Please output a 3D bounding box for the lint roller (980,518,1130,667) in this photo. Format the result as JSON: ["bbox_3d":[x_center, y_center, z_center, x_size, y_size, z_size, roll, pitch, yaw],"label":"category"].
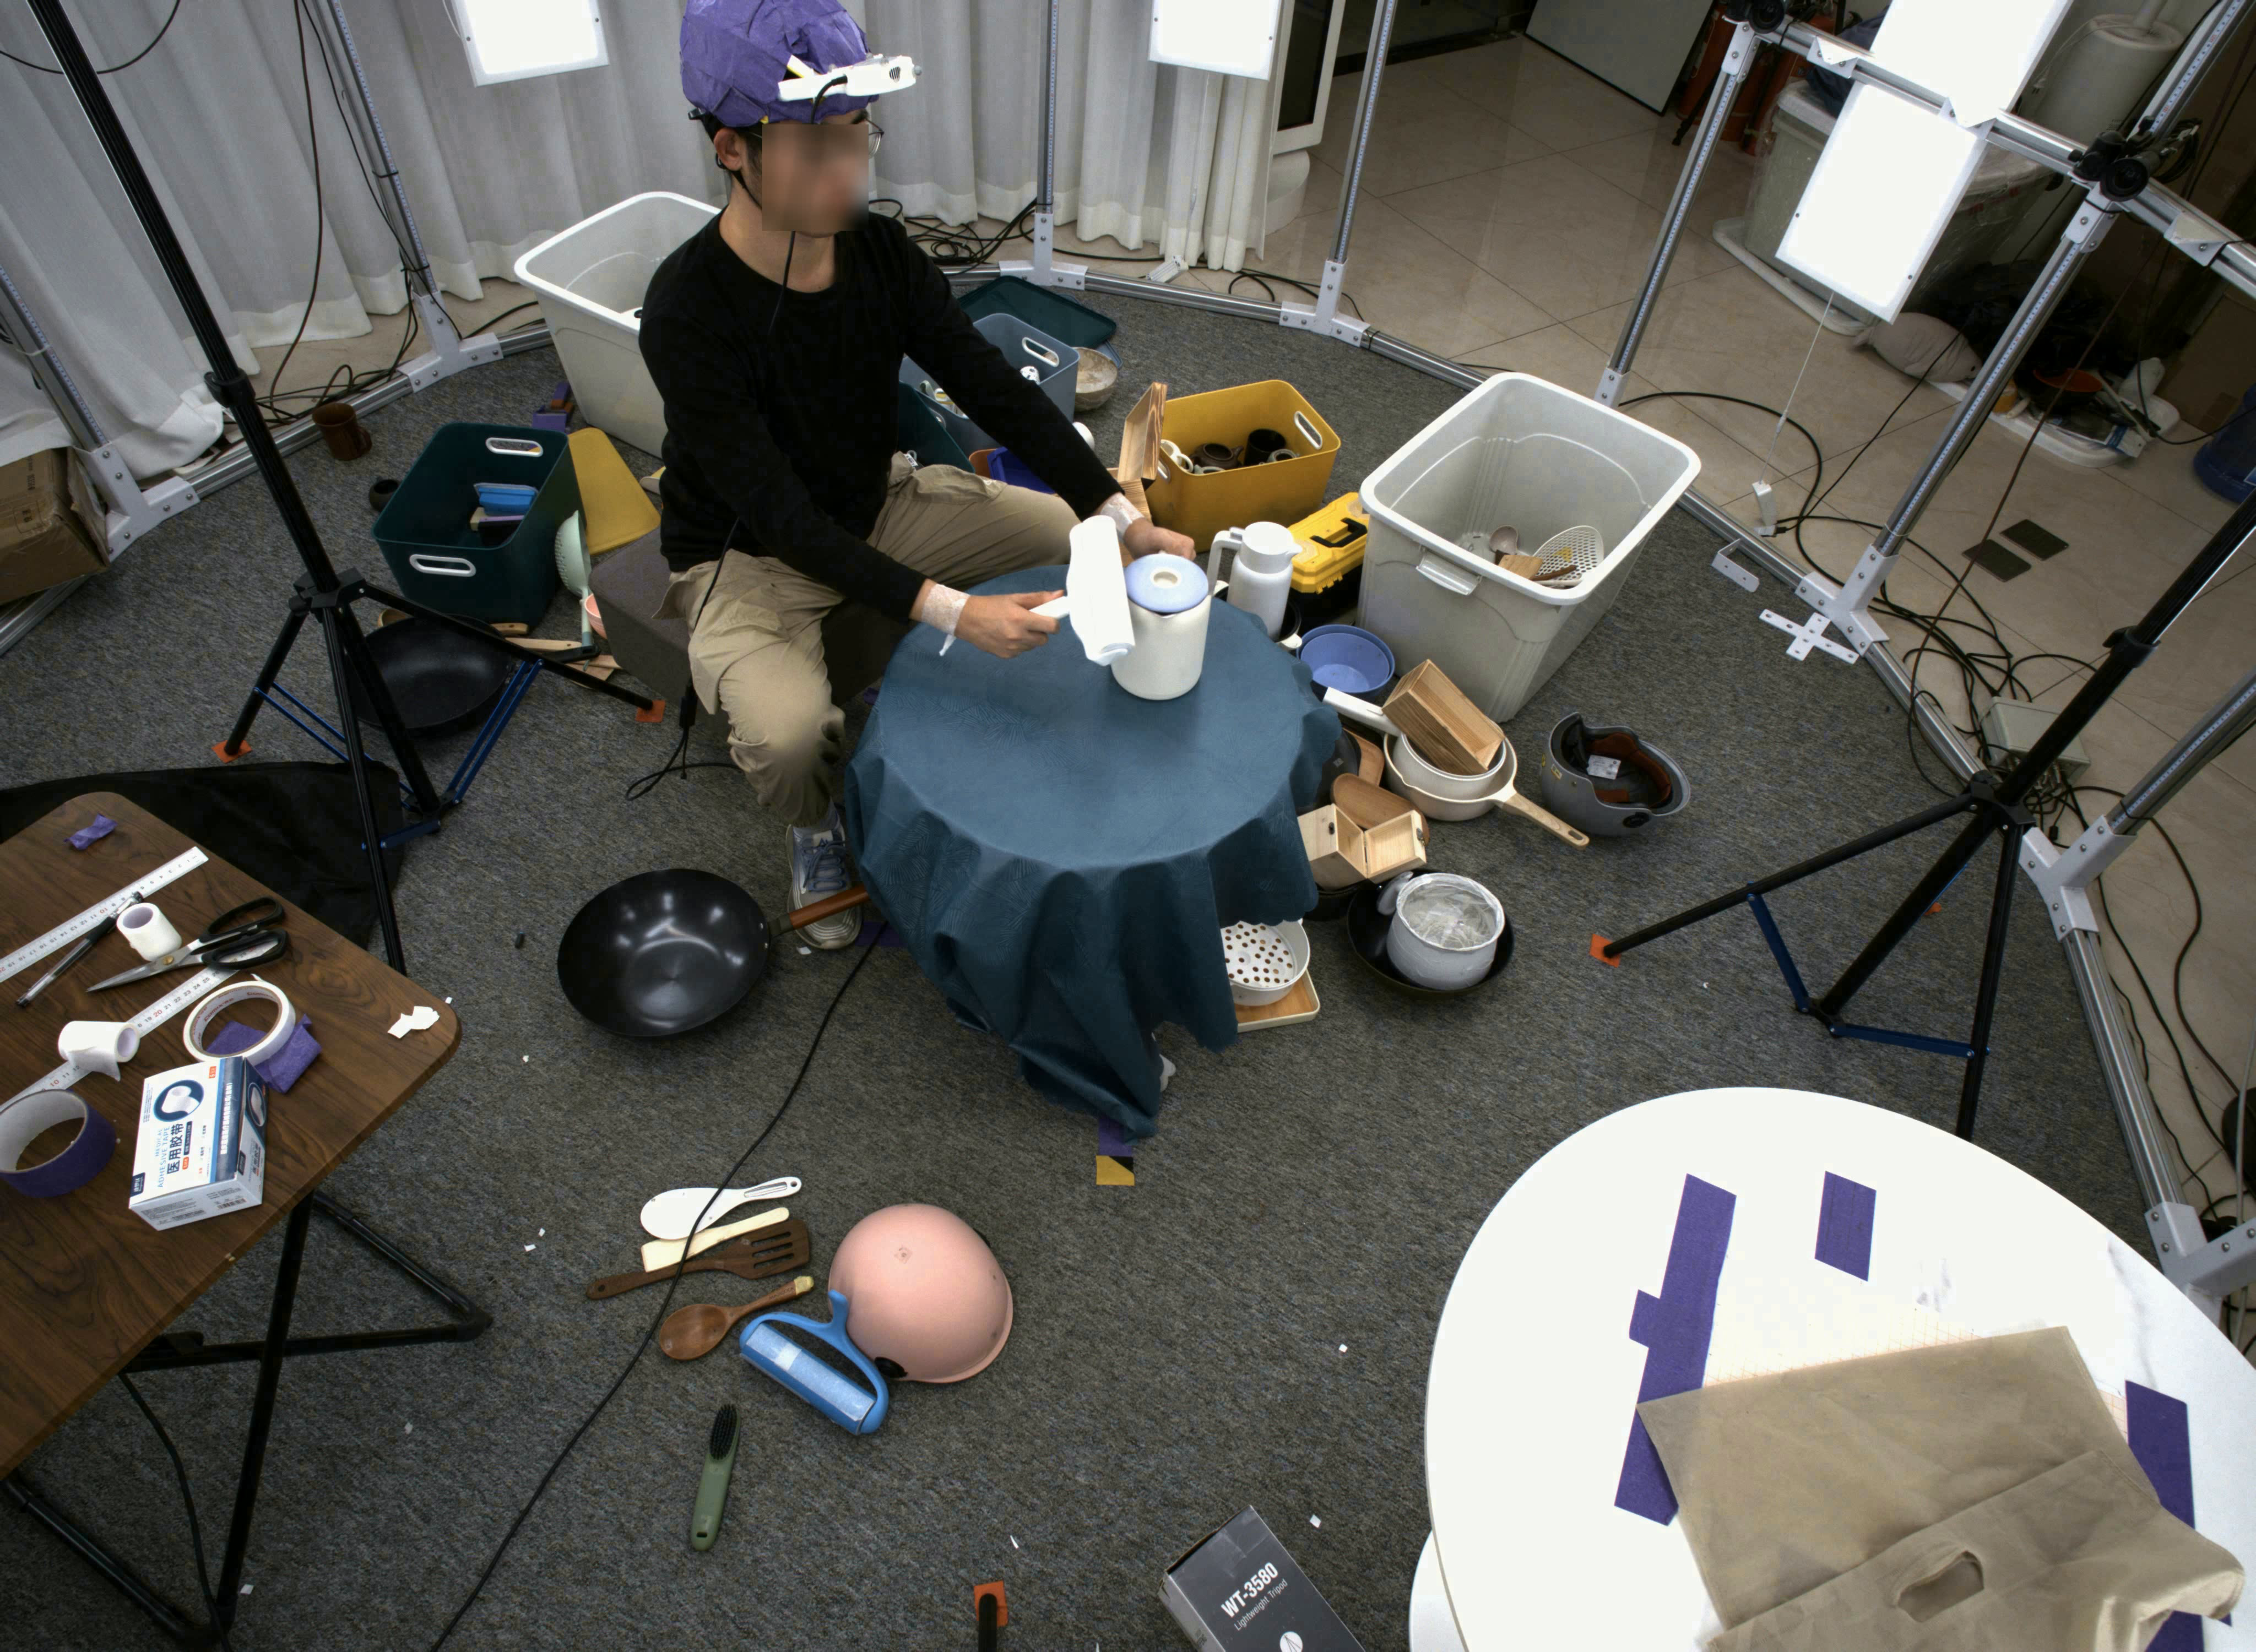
[{"bbox_3d":[-0.109,-0.290,1.732,0.225,0.047,0.206,-17,67,23],"label":"lint roller"}]

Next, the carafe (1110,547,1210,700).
[{"bbox_3d":[0.045,-0.298,1.820,0.132,0.178,0.196,3,48,-2],"label":"carafe"}]
